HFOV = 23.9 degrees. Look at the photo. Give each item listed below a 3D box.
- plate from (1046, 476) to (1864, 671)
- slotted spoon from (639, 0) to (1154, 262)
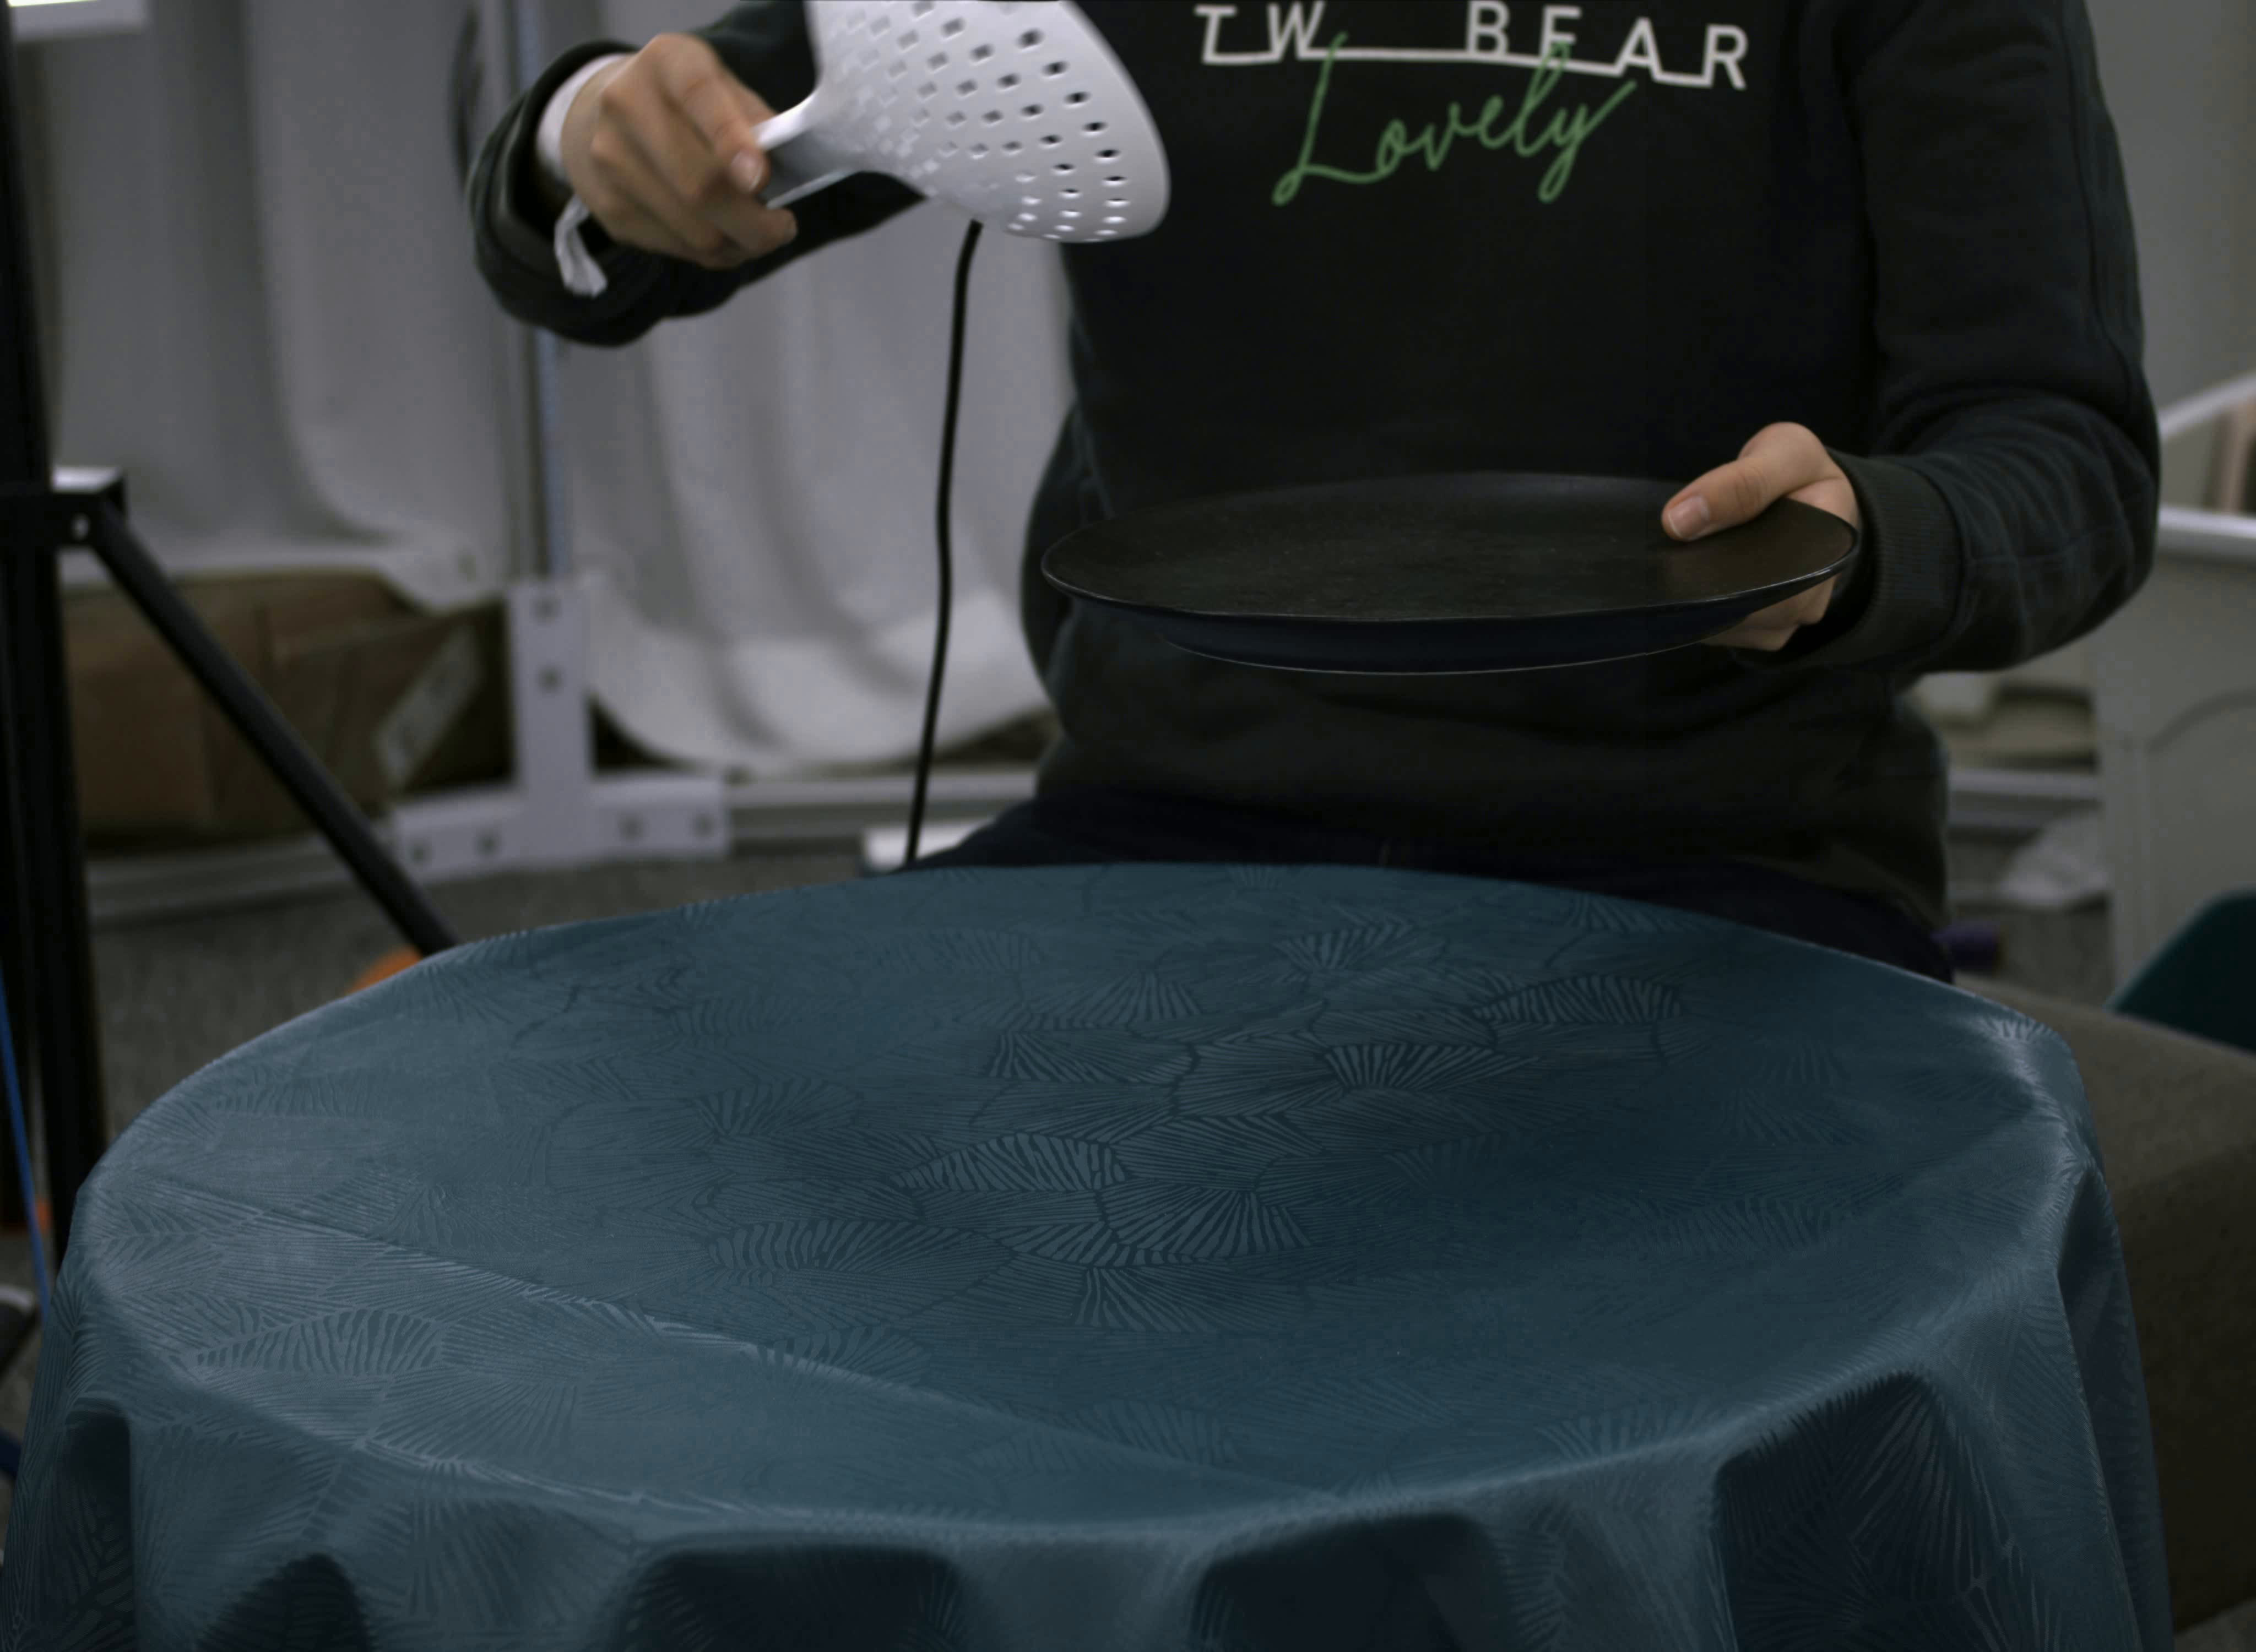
[{"bbox_3d":[0.097,-0.074,1.584,0.243,0.023,0.245,-3,13,-1],"label":"plate"},{"bbox_3d":[-0.092,-0.216,1.675,0.045,0.134,0.354,-48,14,-13],"label":"slotted spoon"}]
